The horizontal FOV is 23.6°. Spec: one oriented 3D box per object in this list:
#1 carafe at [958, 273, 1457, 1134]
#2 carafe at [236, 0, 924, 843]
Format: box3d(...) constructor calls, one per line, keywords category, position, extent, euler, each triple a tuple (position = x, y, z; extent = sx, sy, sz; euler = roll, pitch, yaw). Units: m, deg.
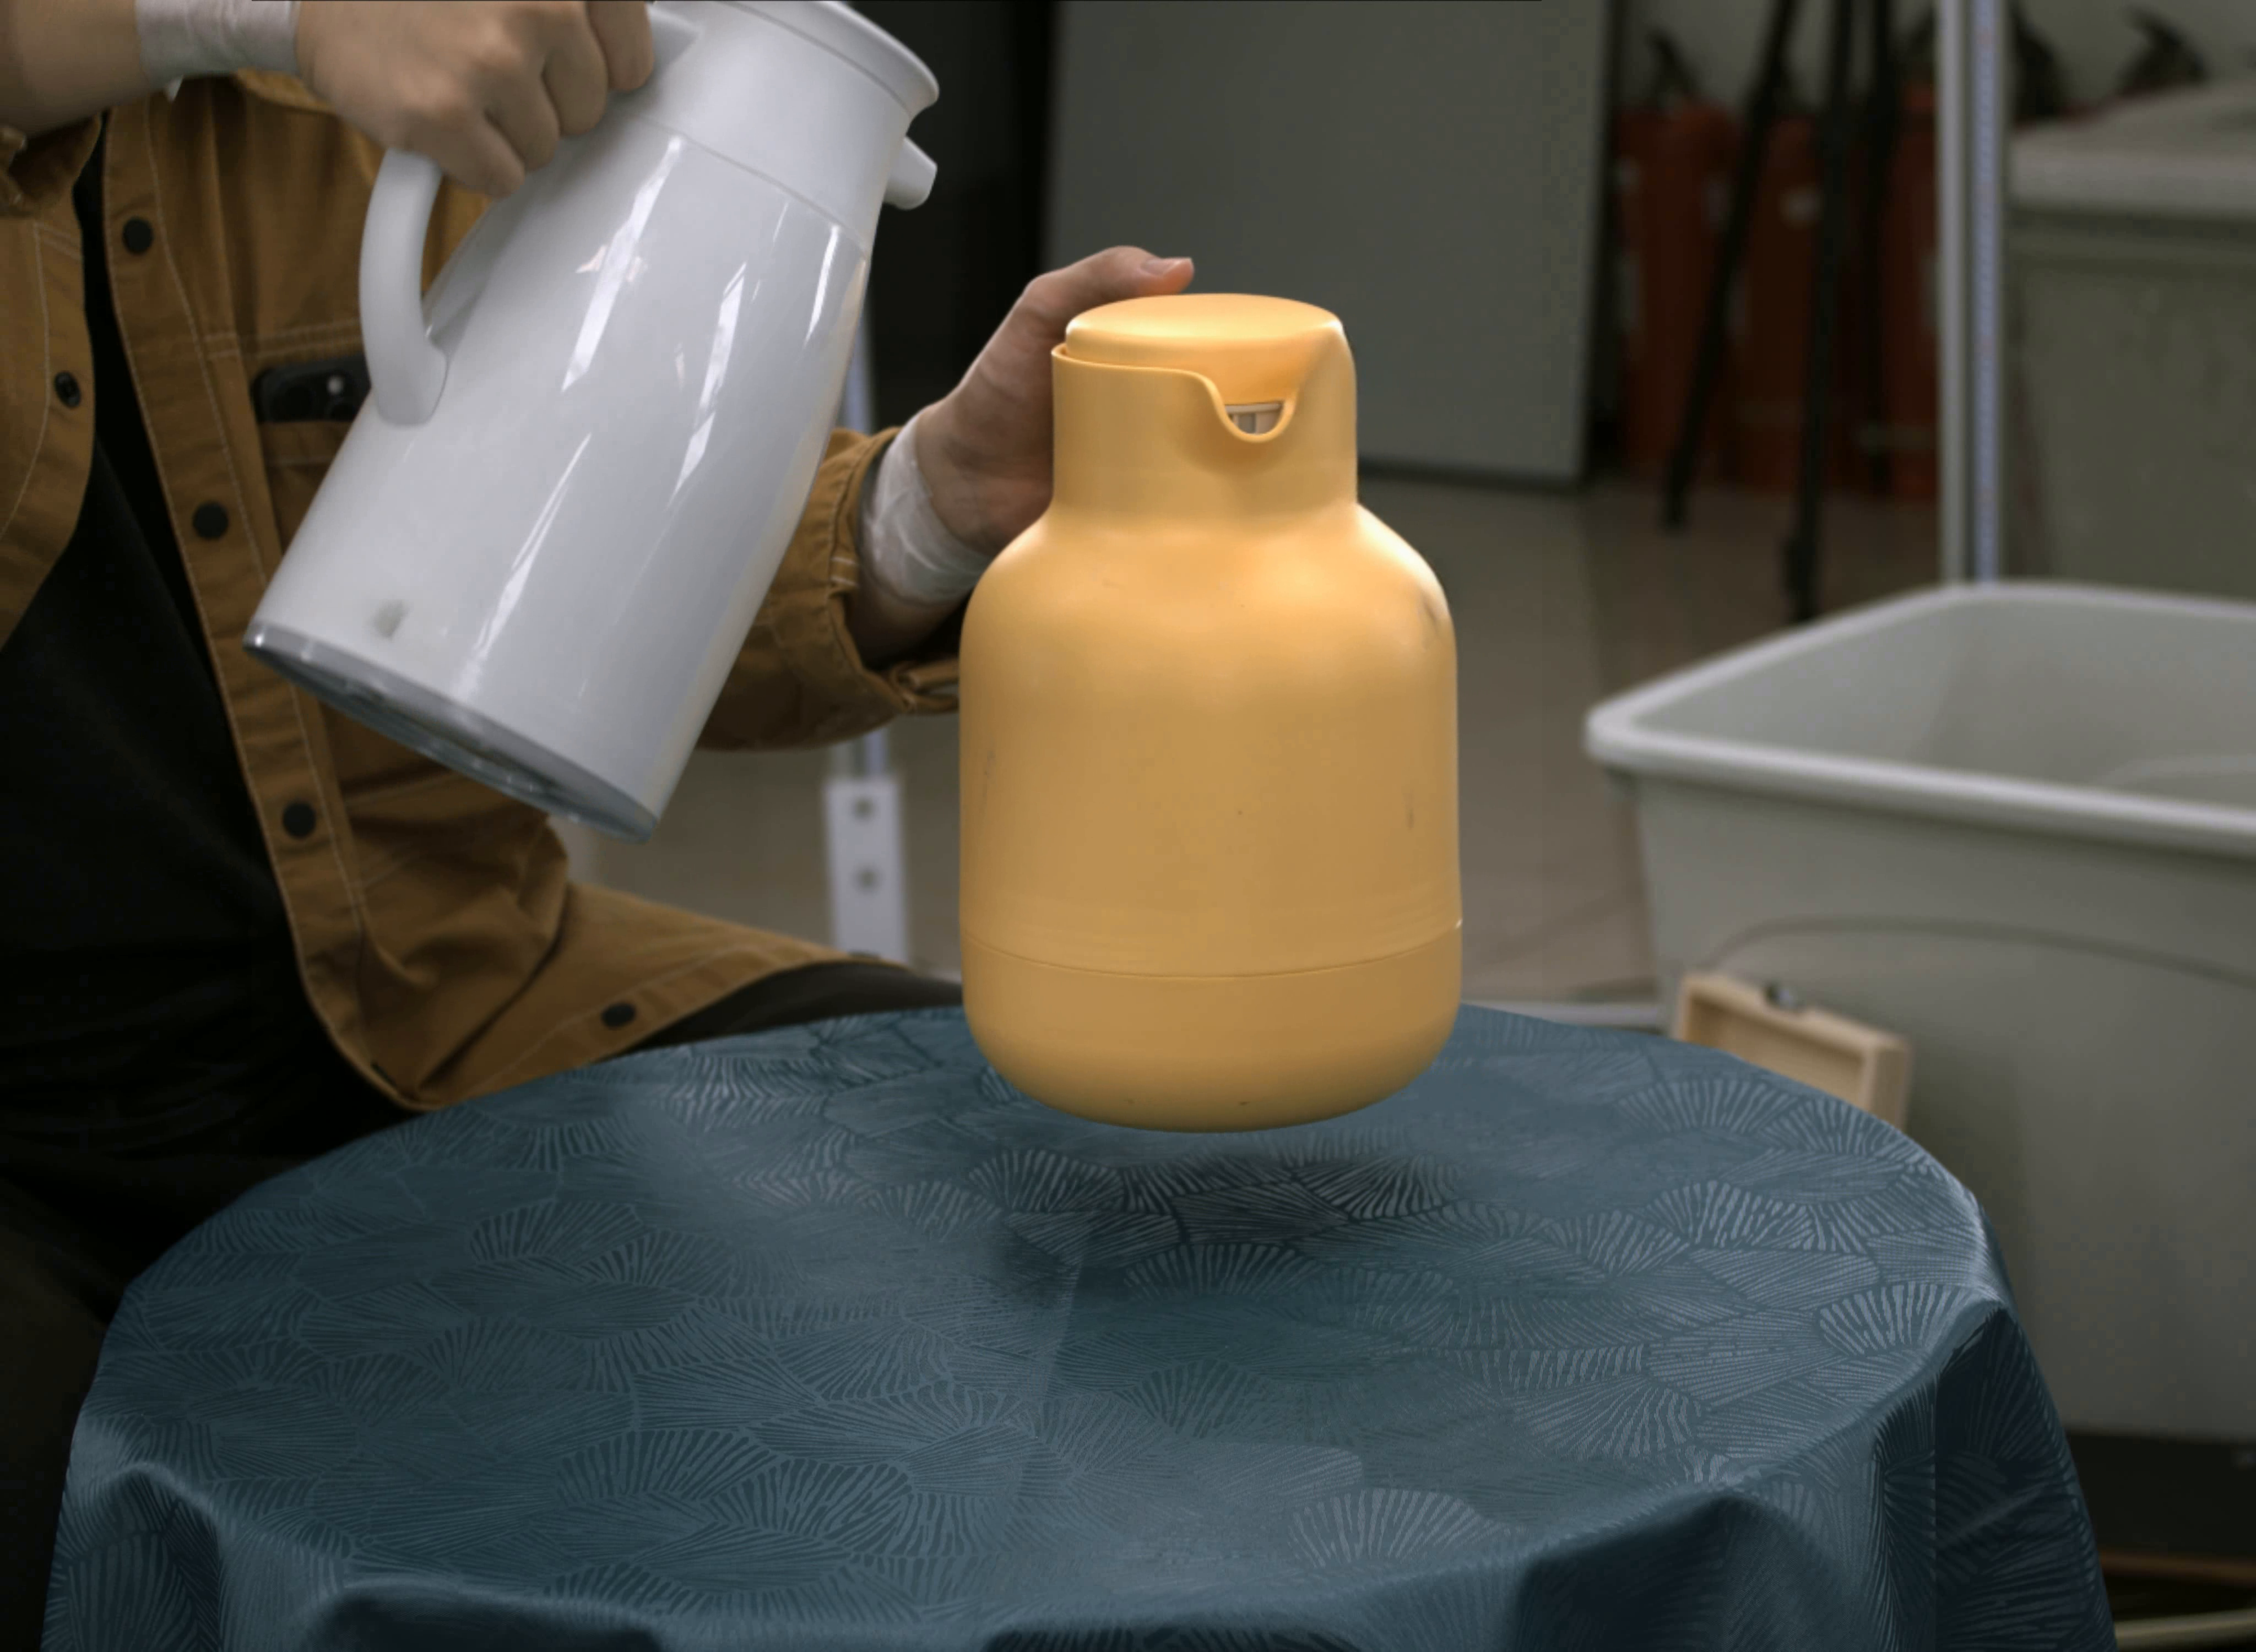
box3d(category="carafe", position=(0.023, -0.047, 1.742), extent=(0.160, 0.263, 0.203), euler=(-2, 13, -9))
box3d(category="carafe", position=(-0.160, -0.143, 1.570), extent=(0.165, 0.250, 0.134), euler=(30, -9, -40))
